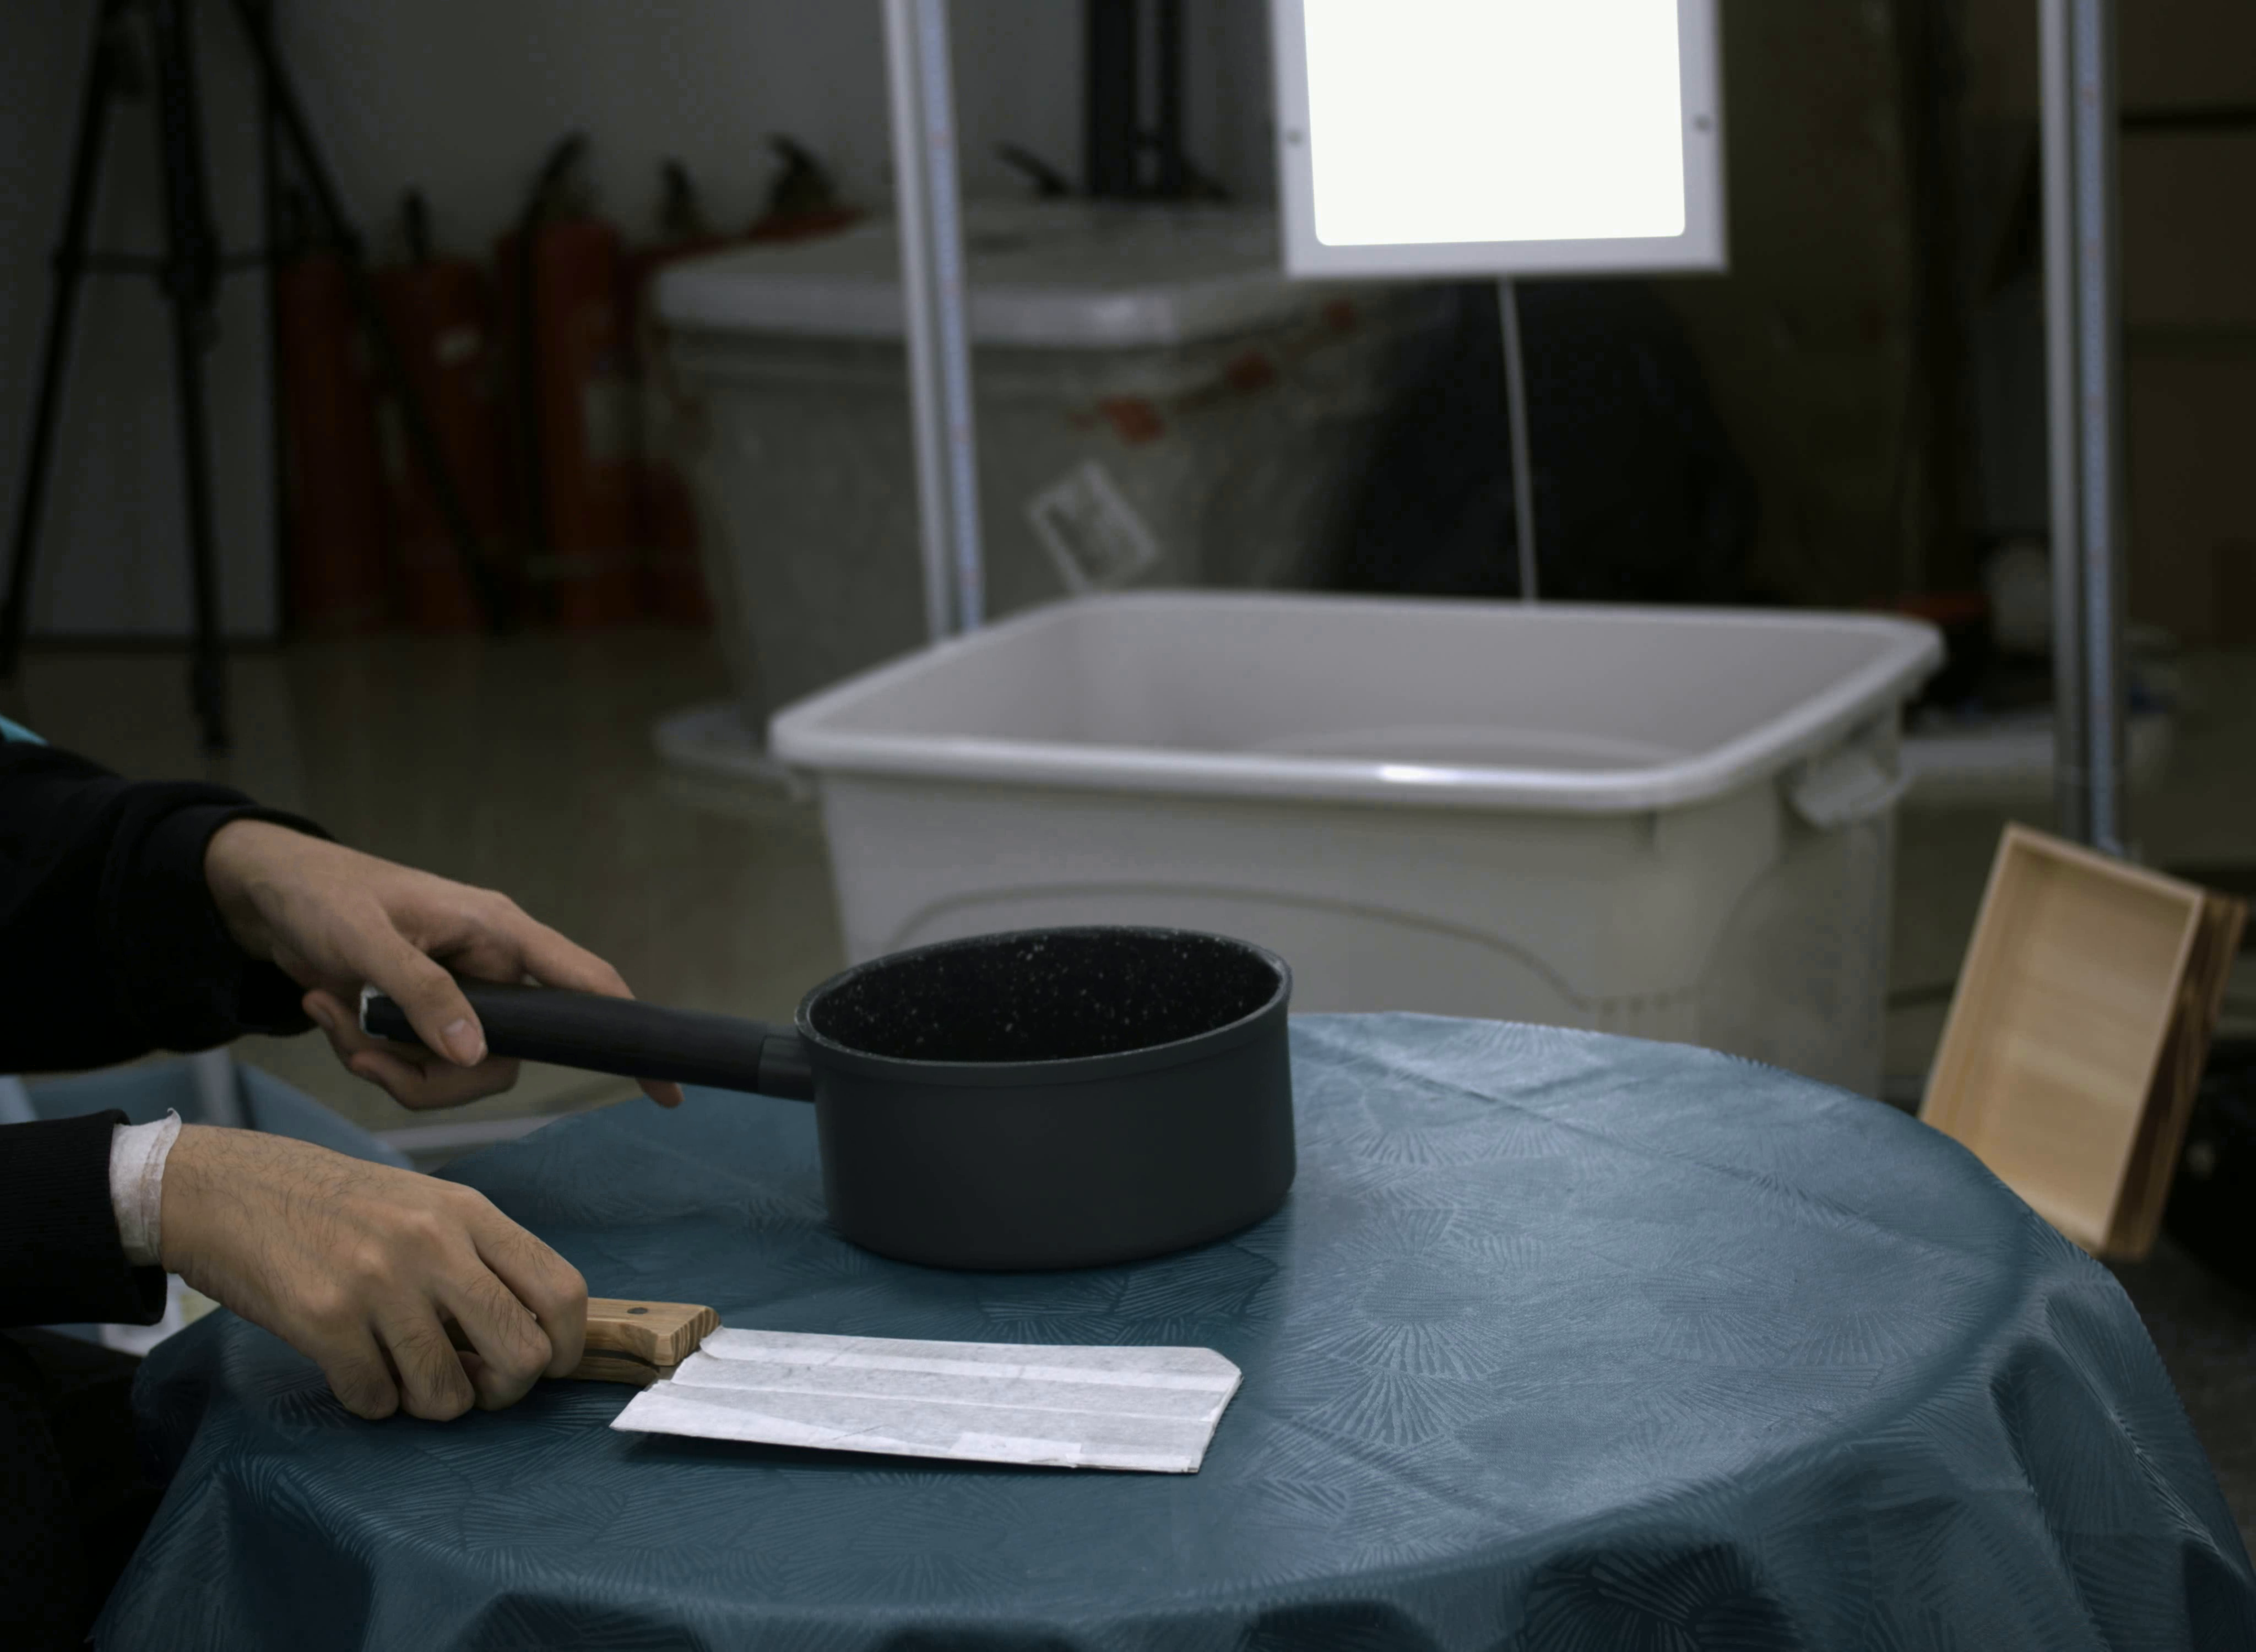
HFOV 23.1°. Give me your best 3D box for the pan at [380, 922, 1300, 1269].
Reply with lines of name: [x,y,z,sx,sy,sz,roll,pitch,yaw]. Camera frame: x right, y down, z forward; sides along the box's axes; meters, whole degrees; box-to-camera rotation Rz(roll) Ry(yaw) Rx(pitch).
pan: [-0.101,0.091,1.905,0.332,0.087,0.169,0,13,16]

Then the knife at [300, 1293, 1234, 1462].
knife: [-0.114,0.171,1.721,0.319,0.022,0.112,3,16,21]
